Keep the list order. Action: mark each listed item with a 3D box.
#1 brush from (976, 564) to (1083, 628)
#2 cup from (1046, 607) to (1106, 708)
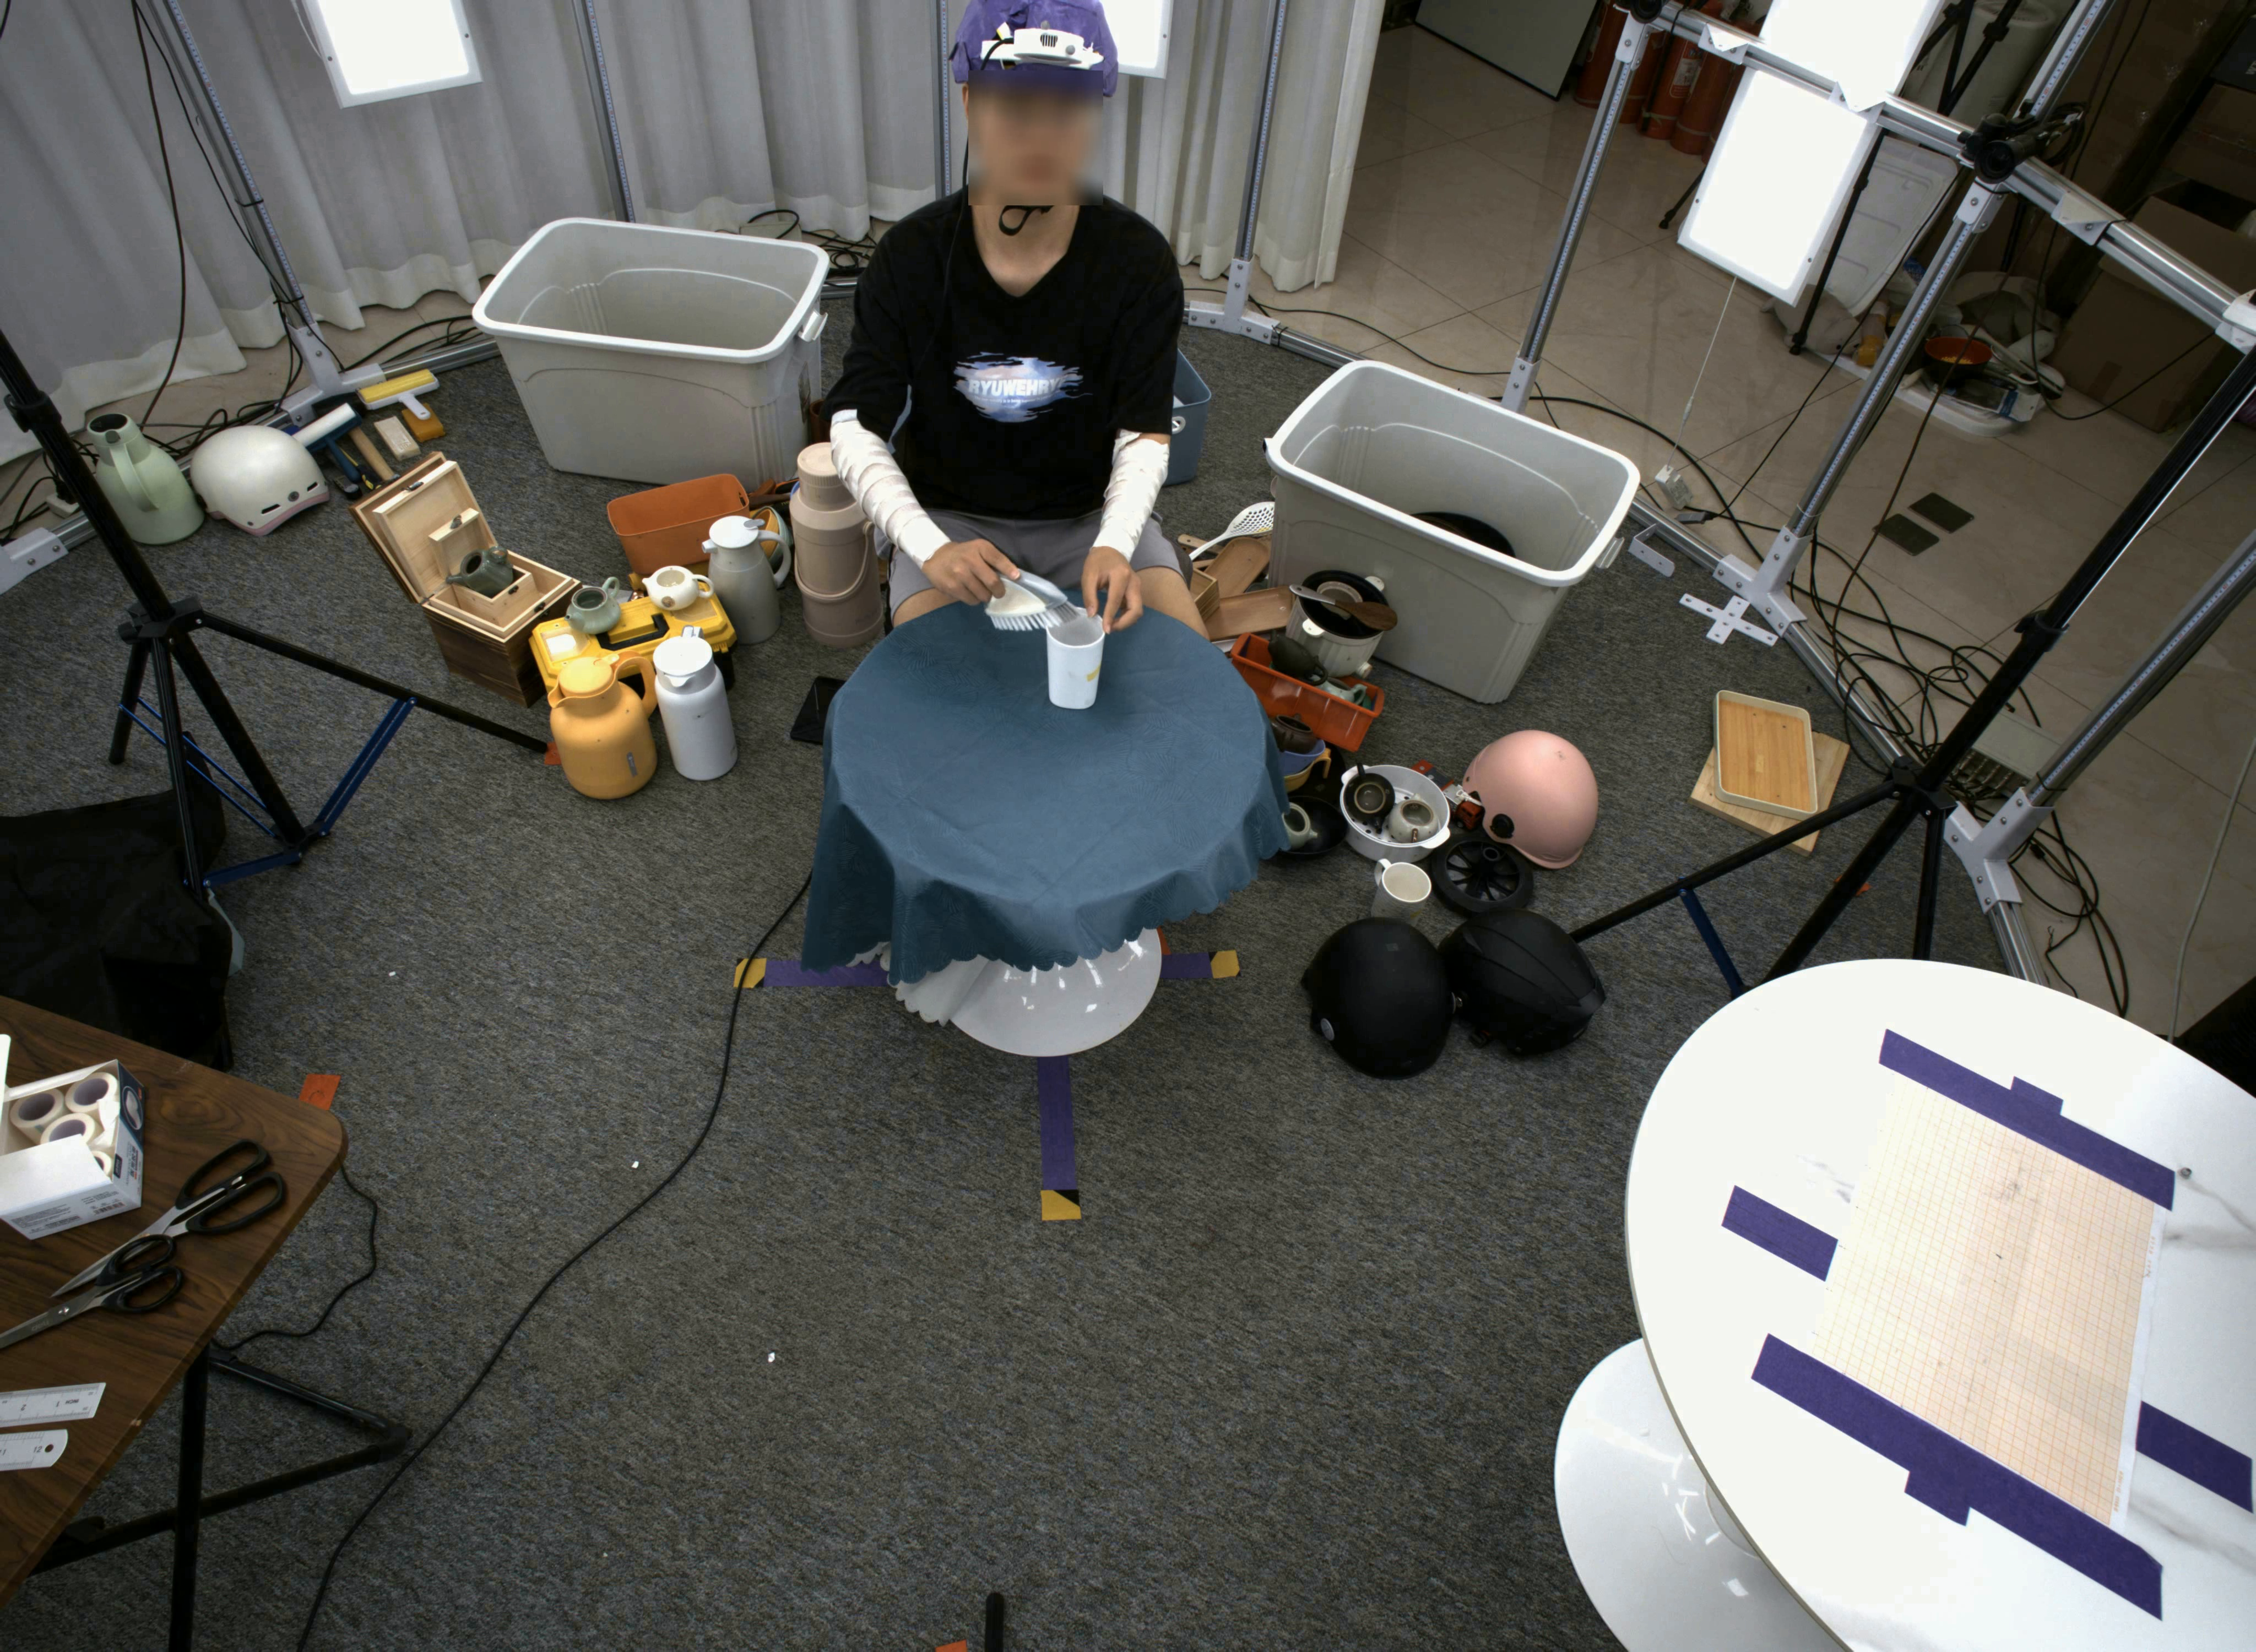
[{"bbox_3d":[-0.141,-0.319,1.752,0.177,0.092,0.062,14,66,47],"label":"brush"},{"bbox_3d":[-0.073,-0.231,1.787,0.081,0.122,0.084,1,51,-2],"label":"cup"}]
